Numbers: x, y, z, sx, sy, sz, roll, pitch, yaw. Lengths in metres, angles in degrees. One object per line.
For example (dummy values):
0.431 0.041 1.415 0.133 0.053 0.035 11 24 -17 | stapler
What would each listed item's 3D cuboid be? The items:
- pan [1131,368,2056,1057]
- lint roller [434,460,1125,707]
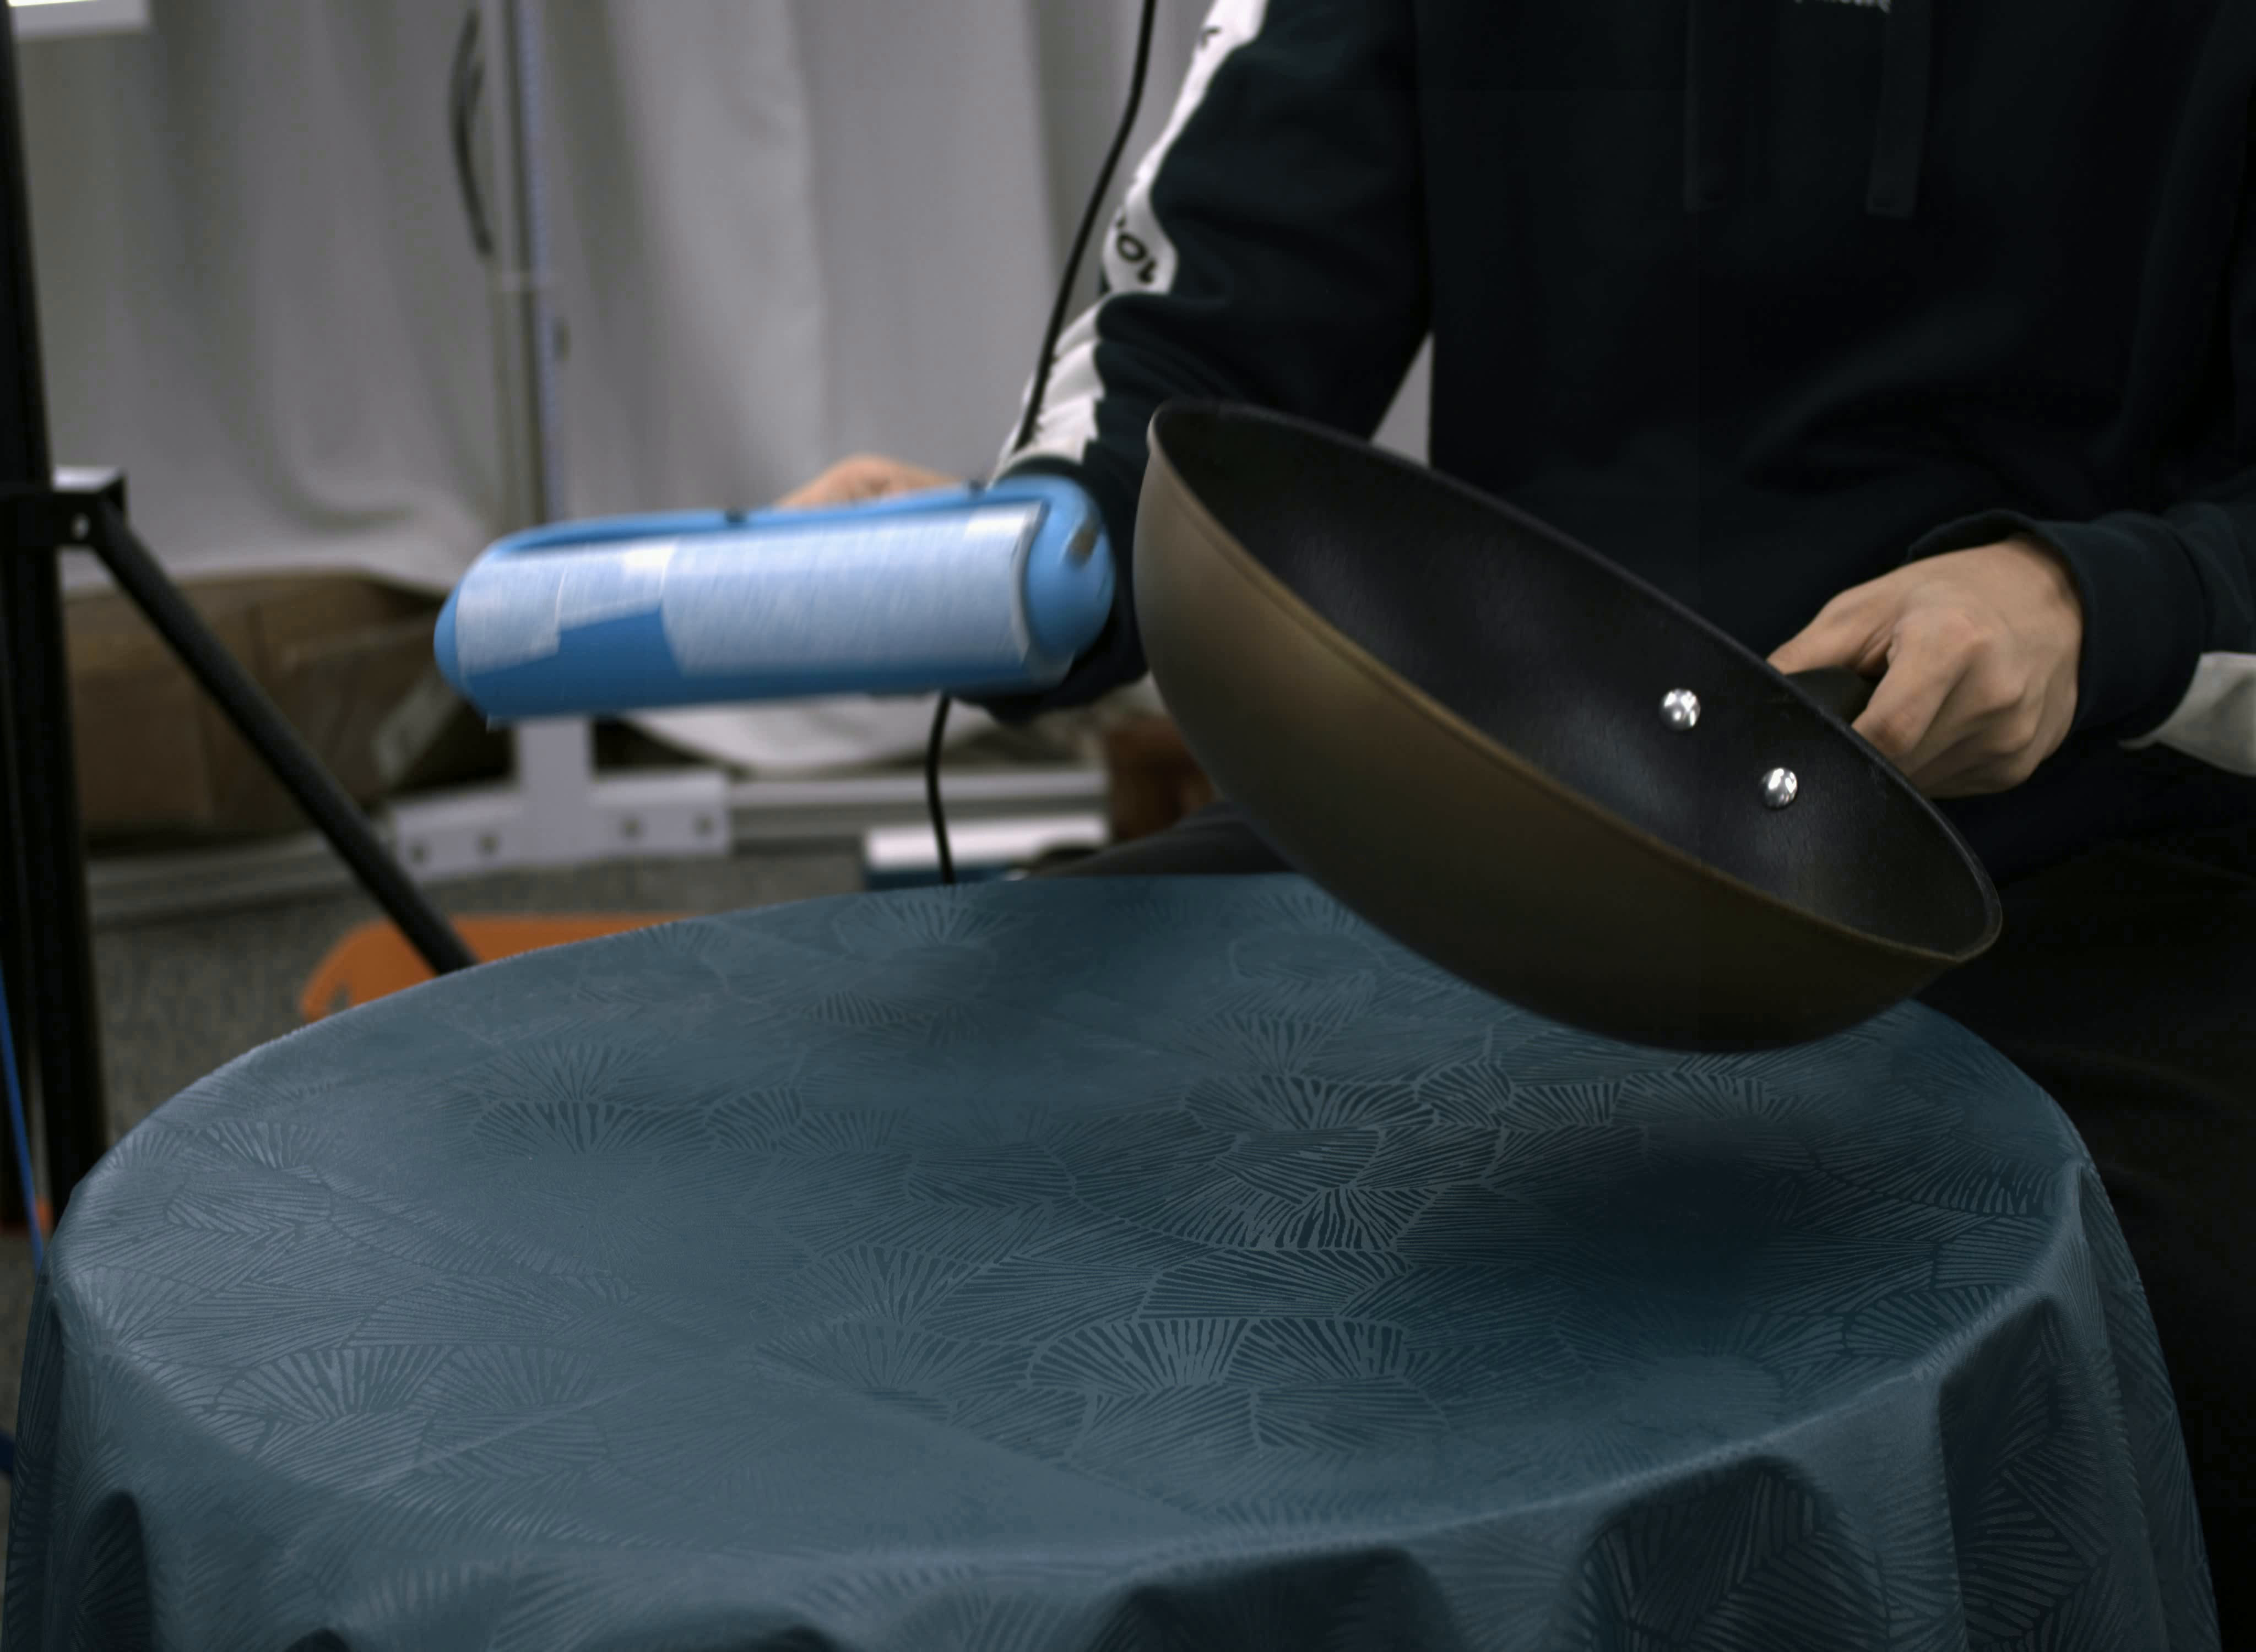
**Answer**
0.156 -0.014 1.593 0.294 0.087 0.452 42 19 28 | pan
-0.094 -0.077 1.716 0.231 0.068 0.178 -6 2 18 | lint roller
